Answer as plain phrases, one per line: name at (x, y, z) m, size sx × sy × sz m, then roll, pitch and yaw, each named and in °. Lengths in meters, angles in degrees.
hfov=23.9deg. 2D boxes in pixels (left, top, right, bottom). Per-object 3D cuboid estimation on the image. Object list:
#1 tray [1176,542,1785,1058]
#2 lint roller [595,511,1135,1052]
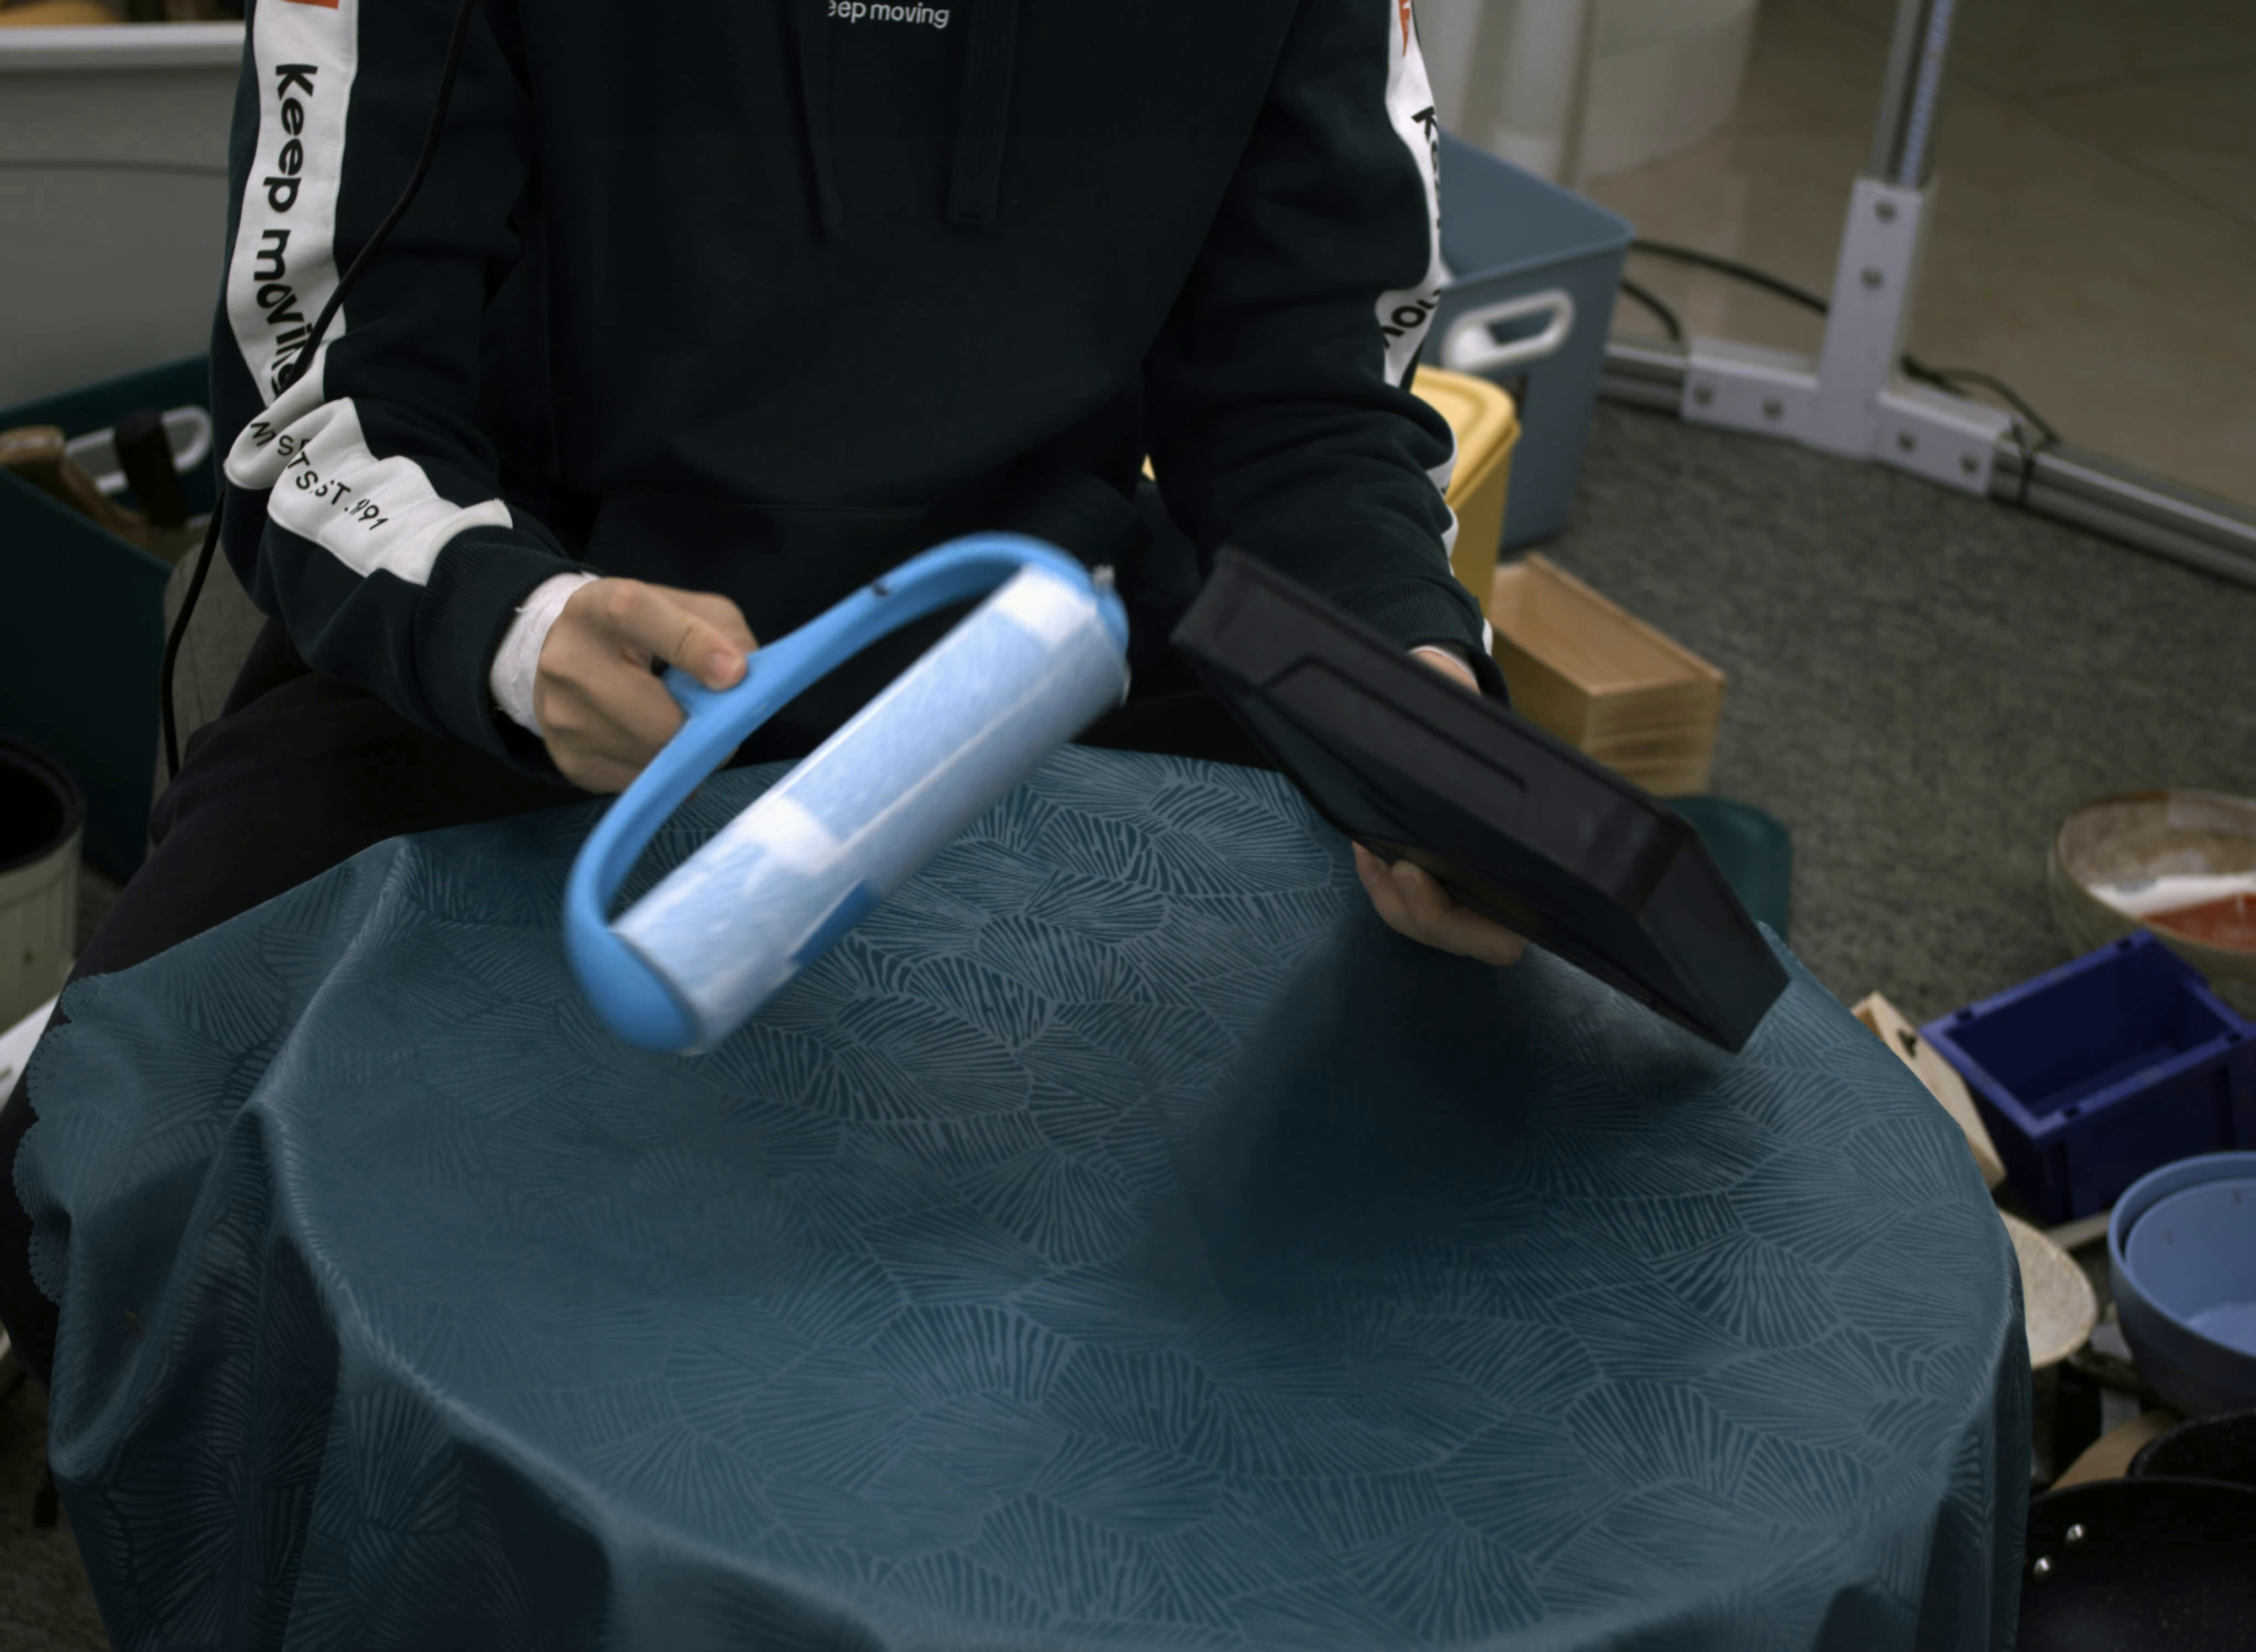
tray at (0.124, -0.002, 1.803) m, size 0.185 × 0.037 × 0.316 m, roll 32°, pitch -3°, yaw 17°
lint roller at (-0.121, -0.029, 1.801) m, size 0.181 × 0.067 × 0.229 m, roll 21°, pitch 62°, yaw 43°
